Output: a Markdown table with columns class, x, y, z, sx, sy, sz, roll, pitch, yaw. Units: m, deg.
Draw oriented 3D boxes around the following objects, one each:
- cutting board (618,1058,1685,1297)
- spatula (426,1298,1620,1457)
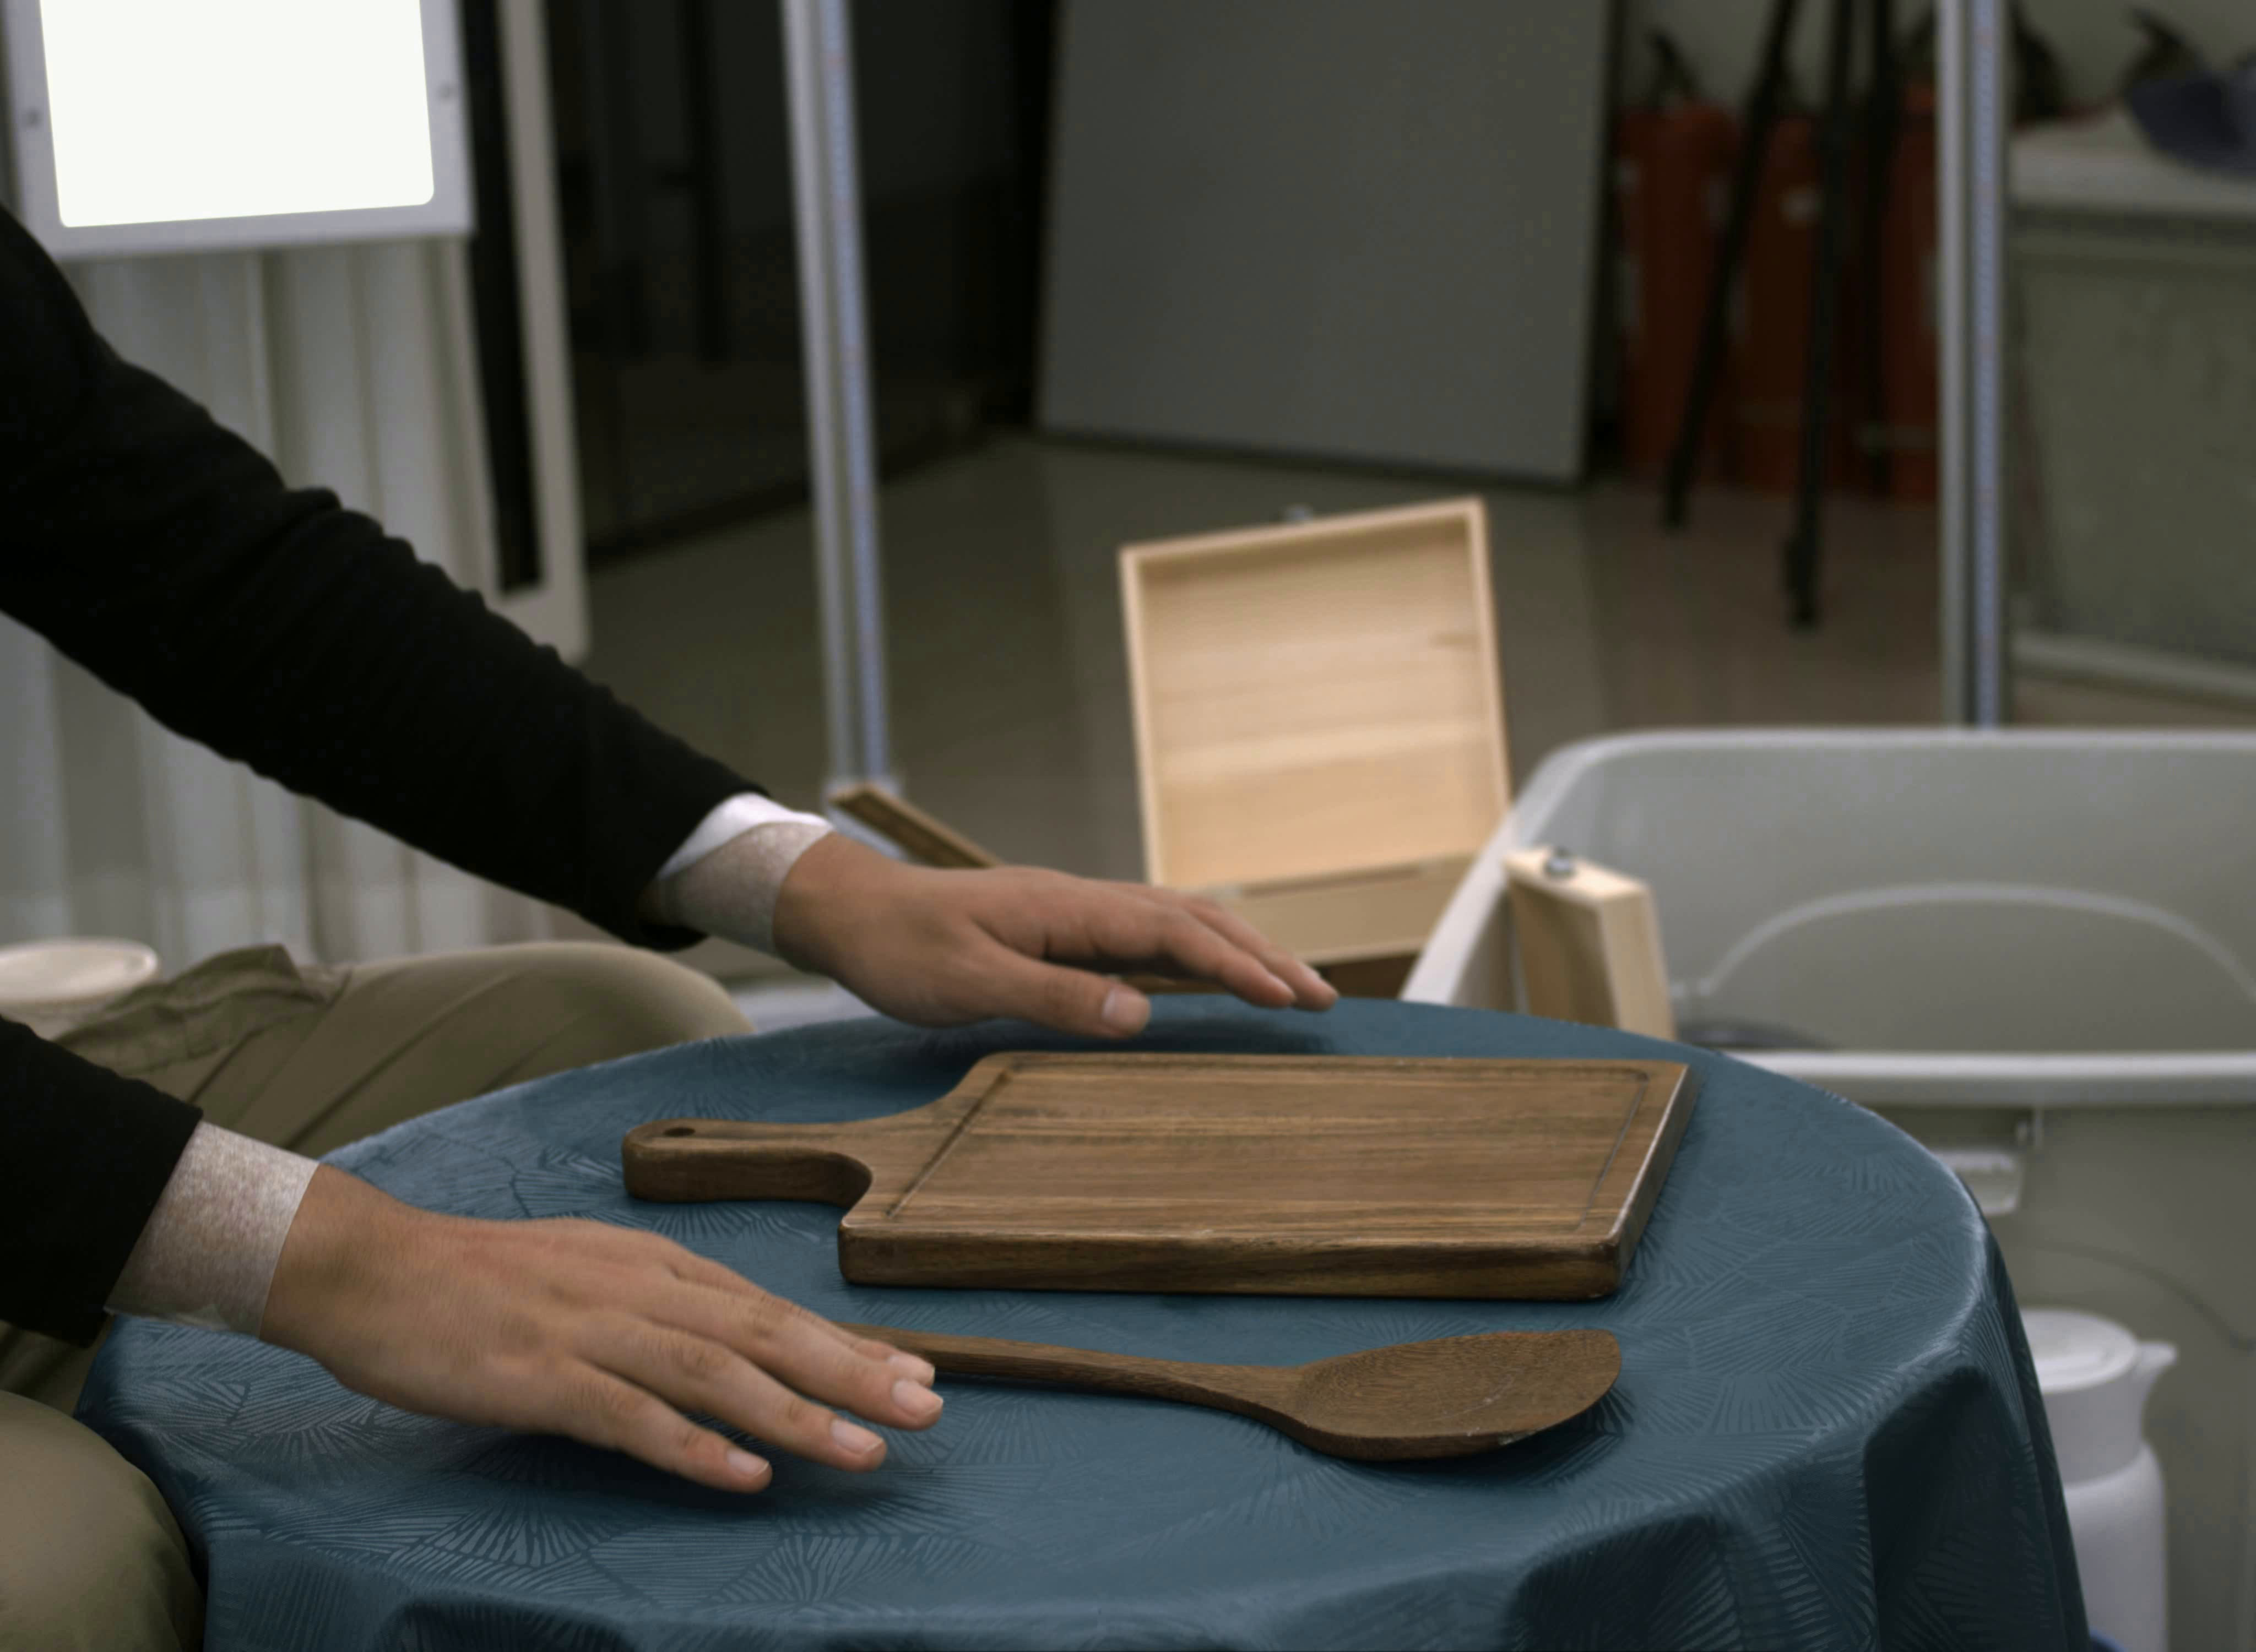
| class | x | y | z | sx | sy | sz | roll | pitch | yaw |
| --- | --- | --- | --- | --- | --- | --- | --- | --- | --- |
| cutting board | 0.001 | 0.112 | 1.763 | 0.350 | 0.023 | 0.200 | -1 | 14 | 14 |
| spatula | -0.041 | 0.158 | 1.600 | 0.386 | 0.016 | 0.095 | 2 | 14 | 24 |
